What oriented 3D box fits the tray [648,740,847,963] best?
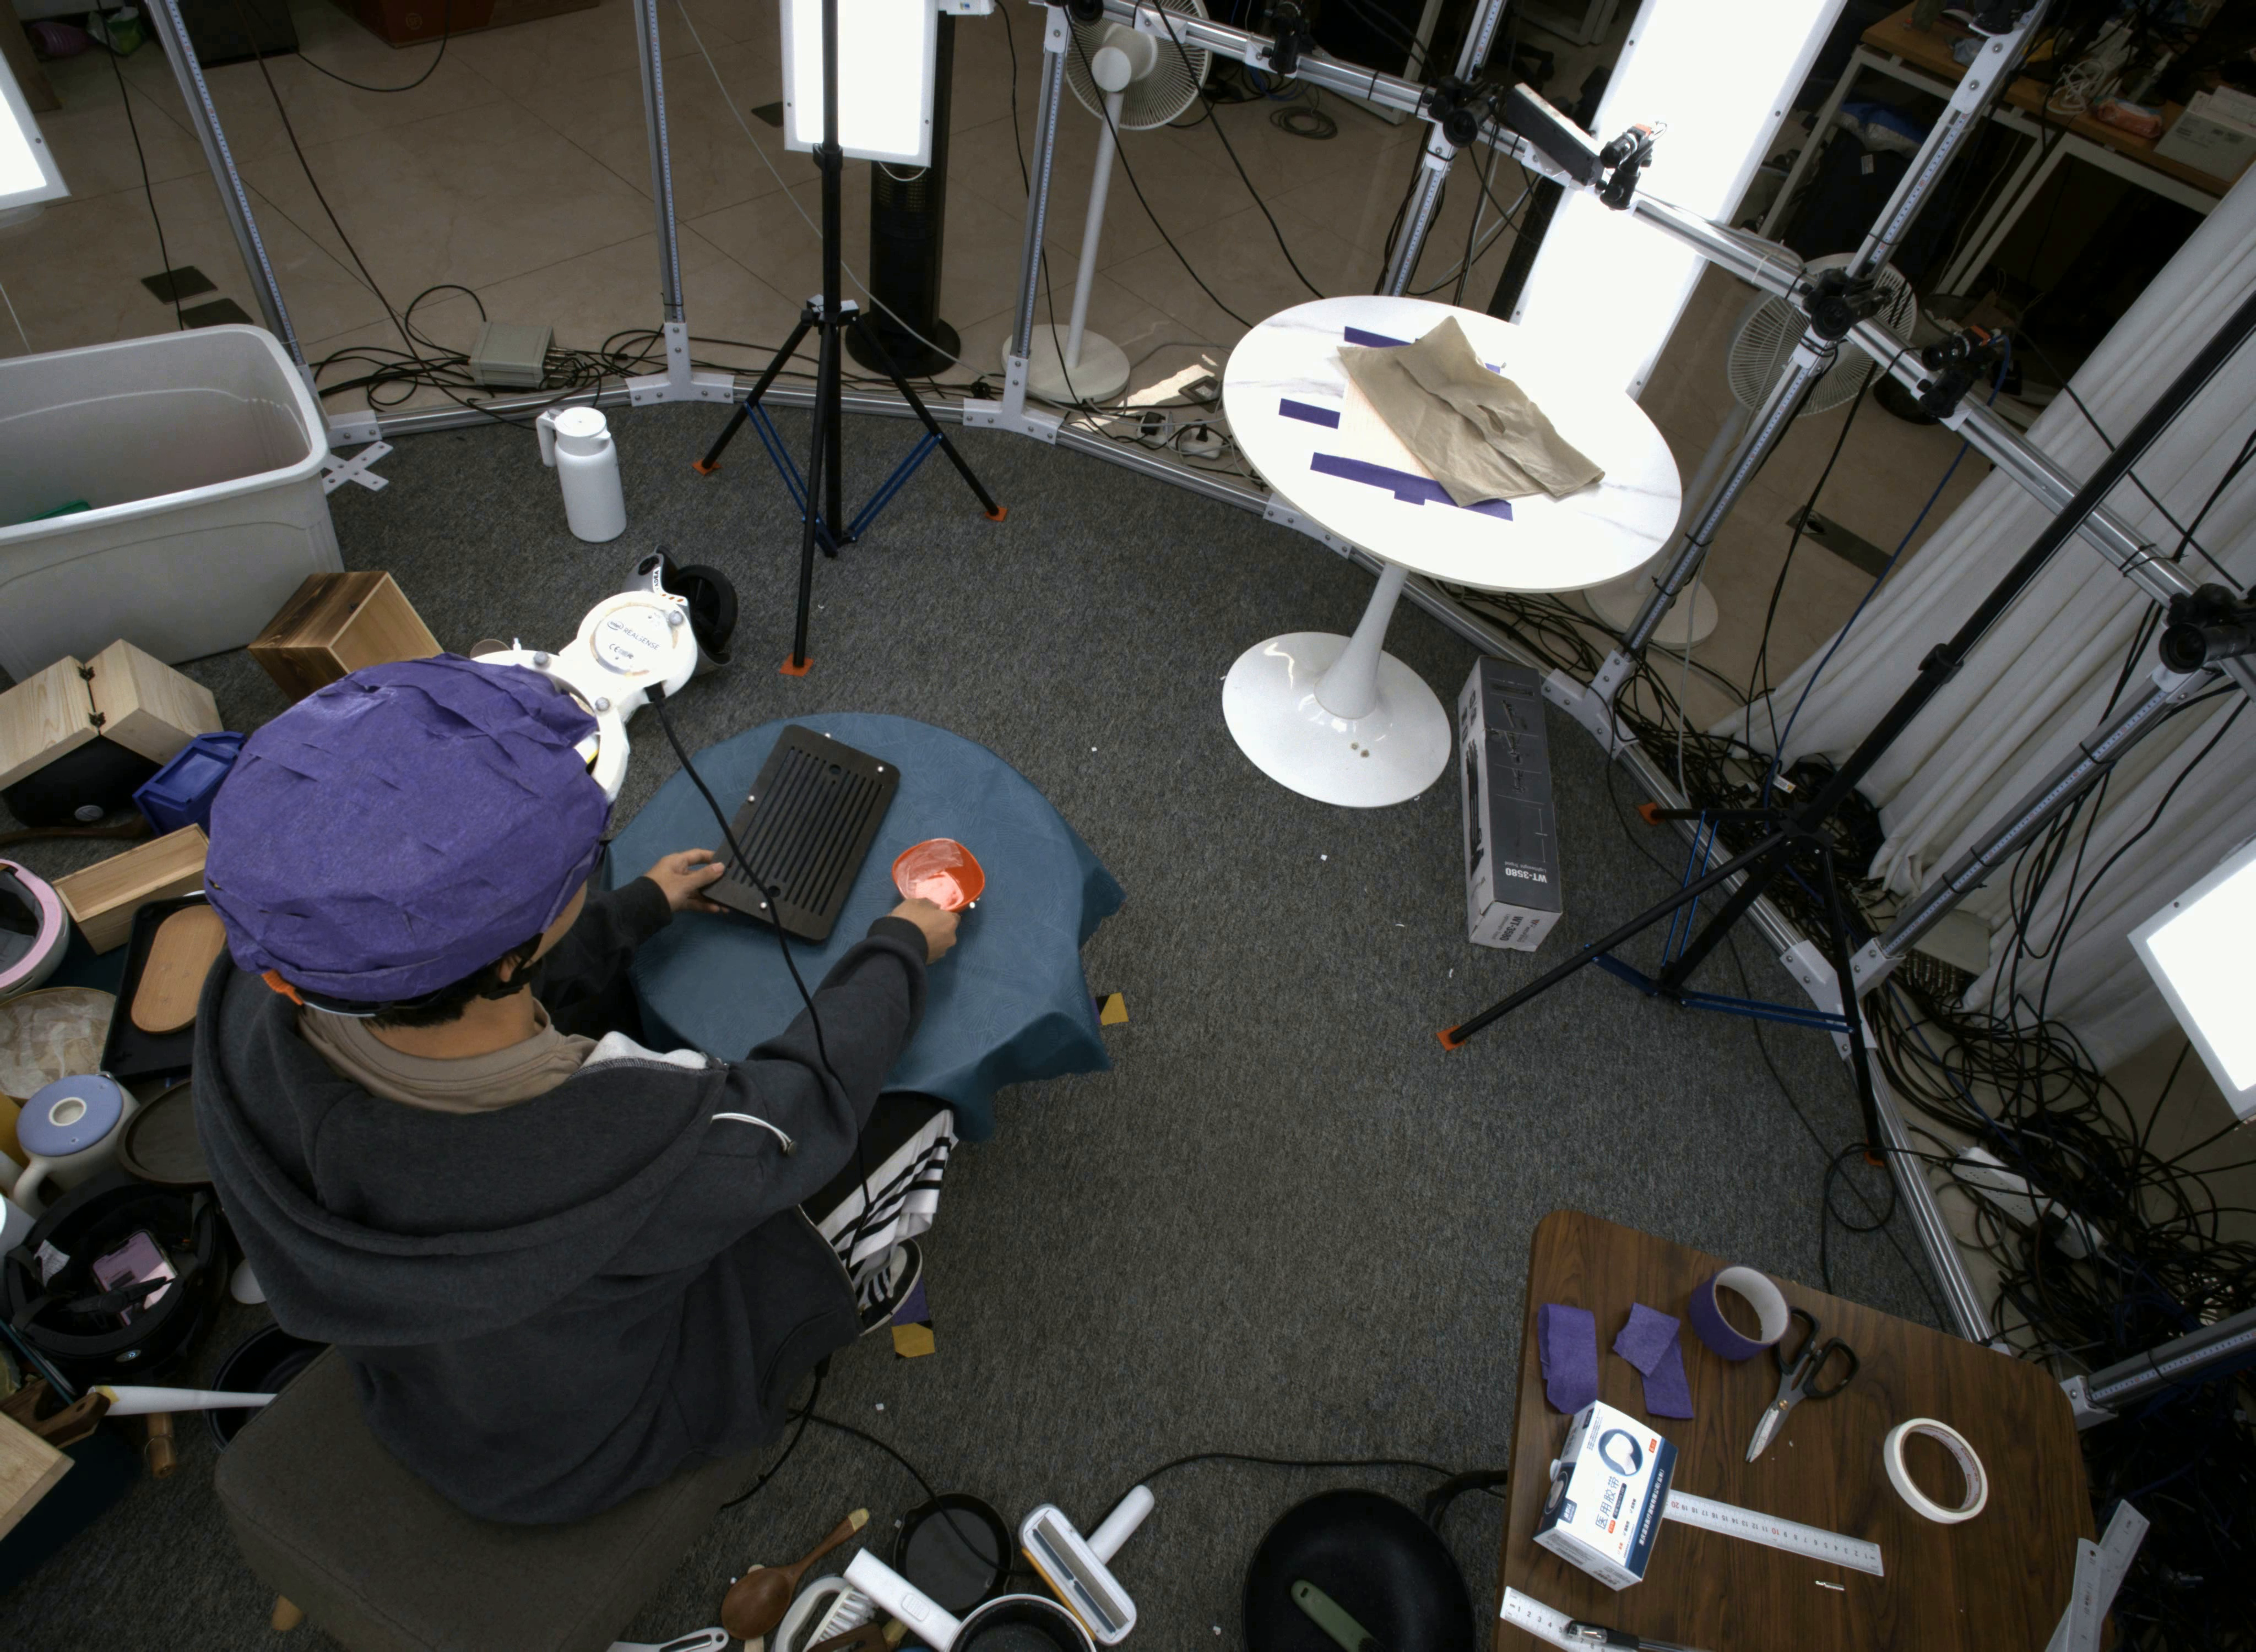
[{"bbox_3d":[-0.484,0.027,1.661,0.171,0.019,0.301,21,50,-12],"label":"tray"}]

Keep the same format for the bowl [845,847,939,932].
[{"bbox_3d":[-0.302,0.088,1.659,0.119,0.052,0.117,9,52,-10],"label":"bowl"}]
